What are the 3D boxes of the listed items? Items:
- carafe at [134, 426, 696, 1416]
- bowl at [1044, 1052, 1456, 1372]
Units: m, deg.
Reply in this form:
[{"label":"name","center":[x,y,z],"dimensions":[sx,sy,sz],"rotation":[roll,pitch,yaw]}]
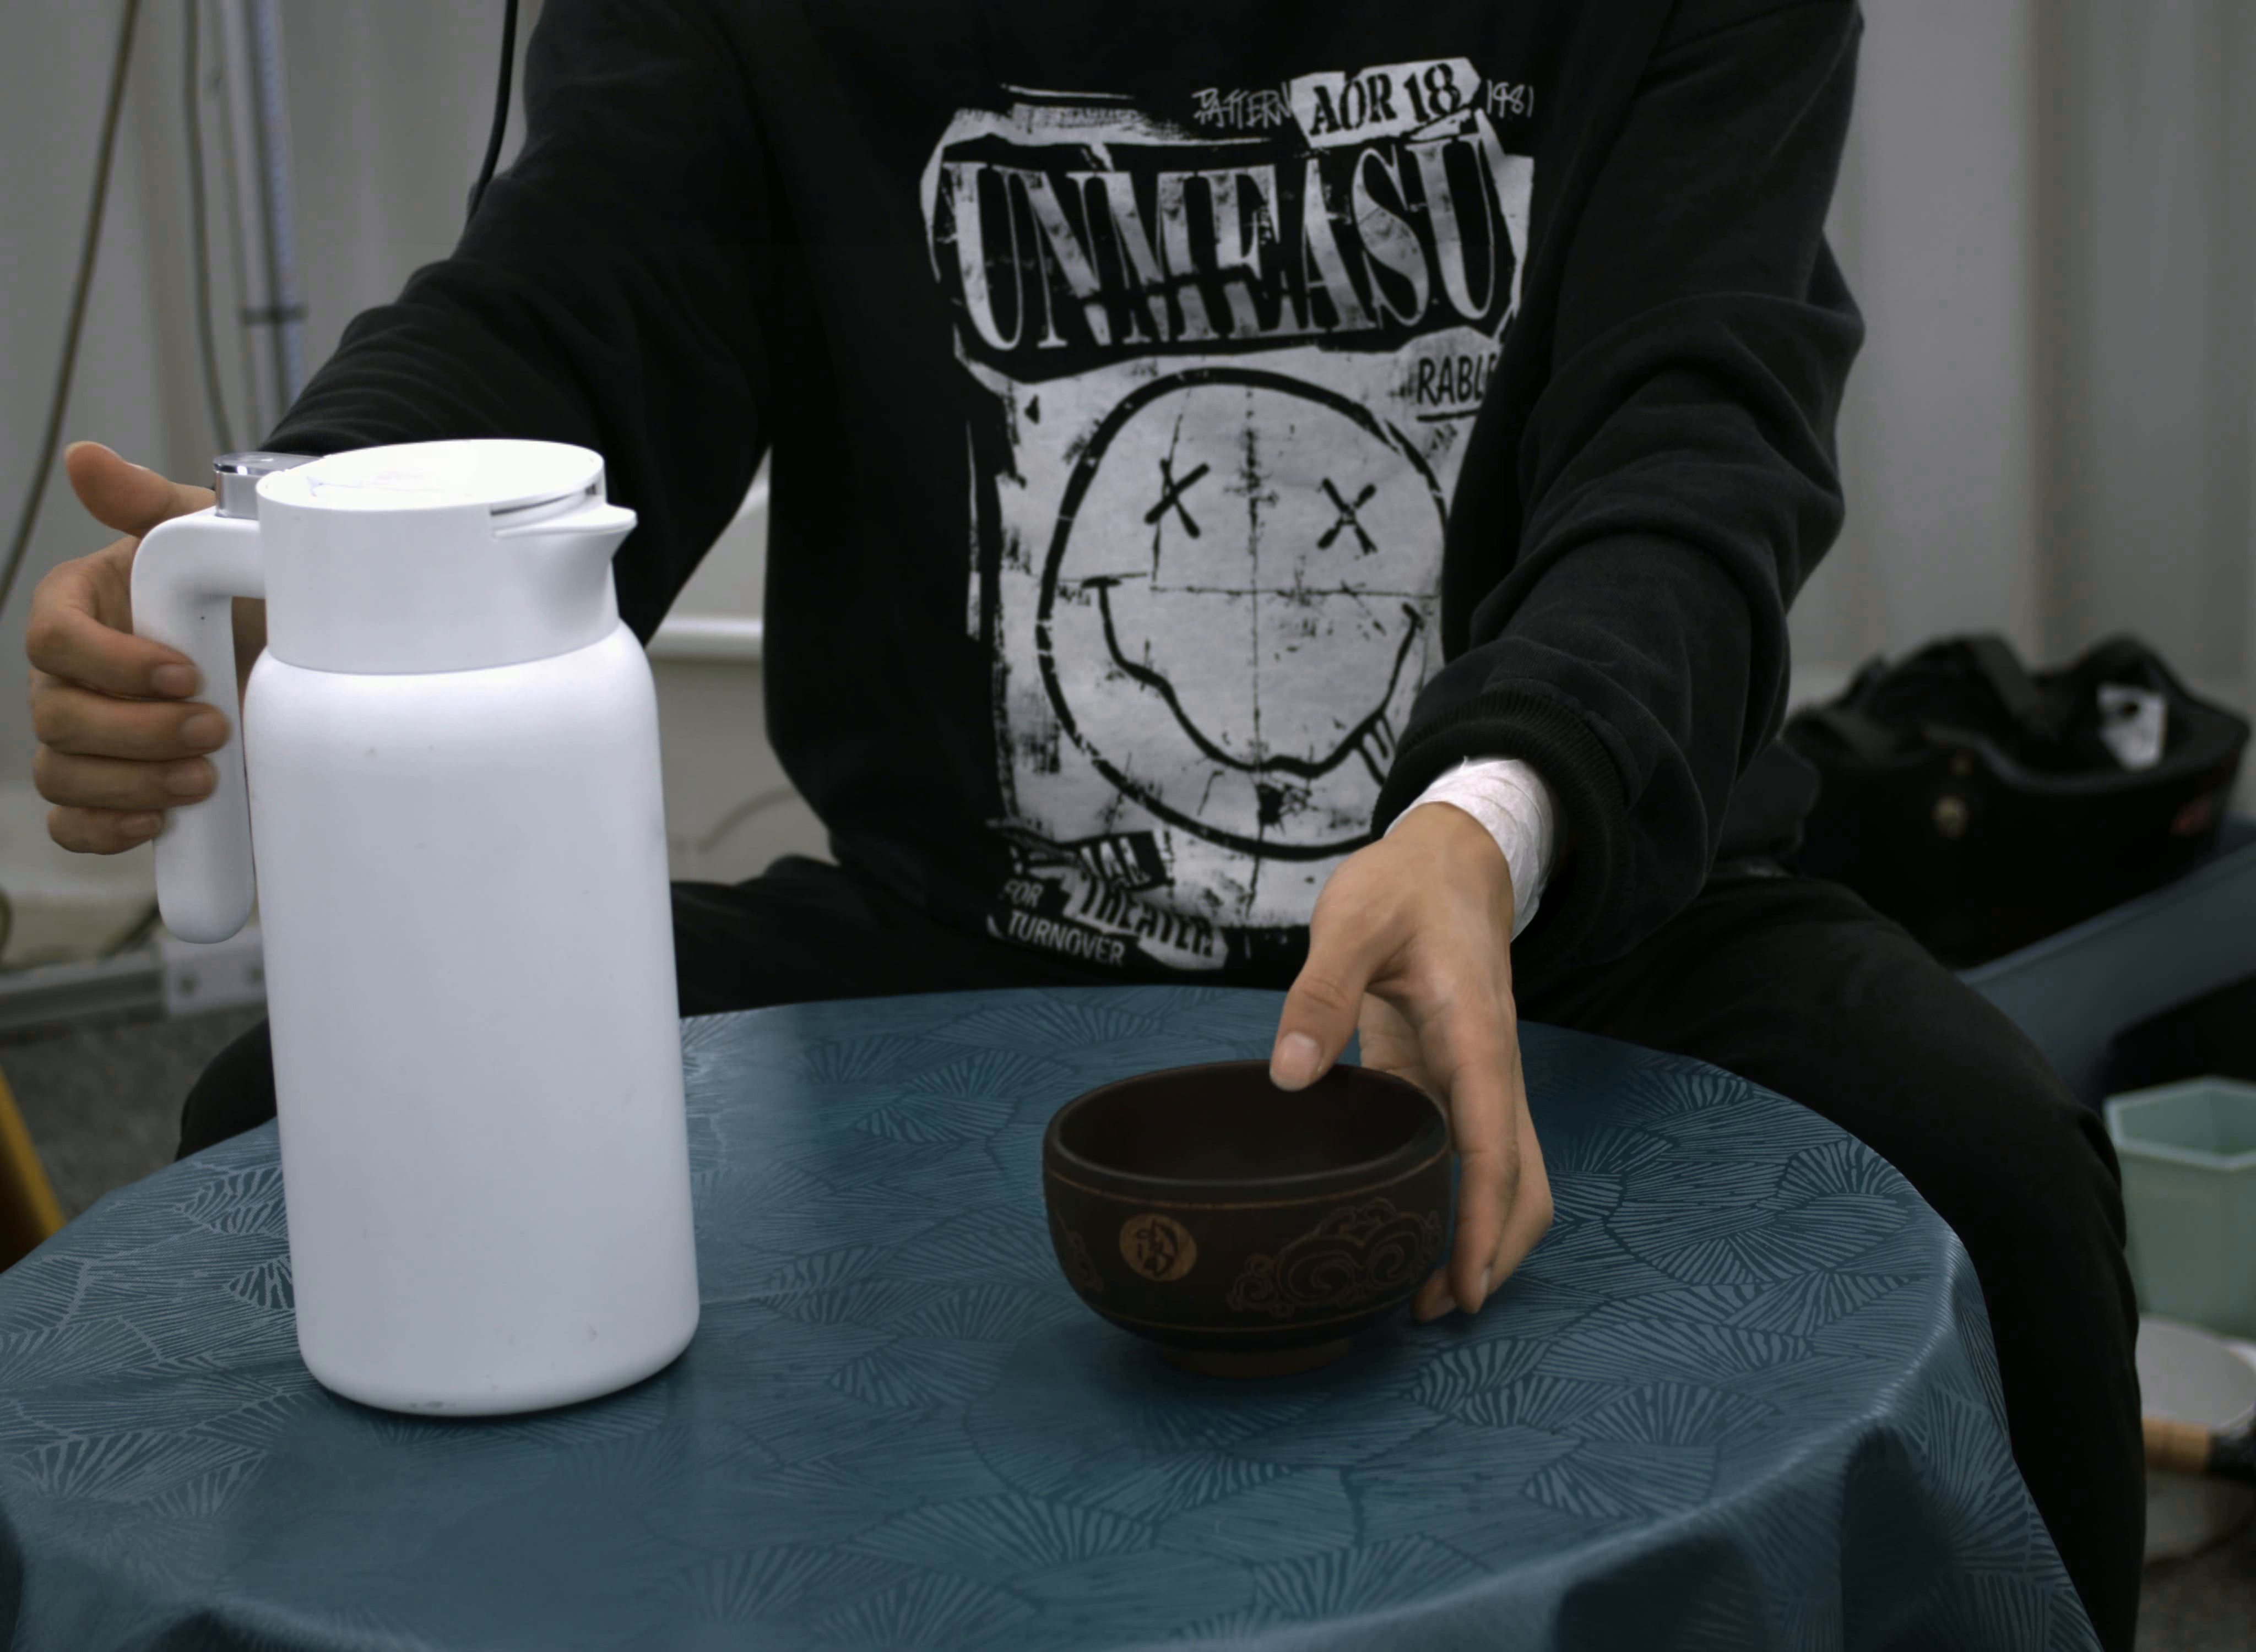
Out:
[{"label":"carafe","center":[-0.204,0.025,1.573],"dimensions":[0.173,0.267,0.124],"rotation":[5,18,29]},{"label":"bowl","center":[0.036,0.114,1.566],"dimensions":[0.117,0.069,0.119],"rotation":[-3,14,1]}]
